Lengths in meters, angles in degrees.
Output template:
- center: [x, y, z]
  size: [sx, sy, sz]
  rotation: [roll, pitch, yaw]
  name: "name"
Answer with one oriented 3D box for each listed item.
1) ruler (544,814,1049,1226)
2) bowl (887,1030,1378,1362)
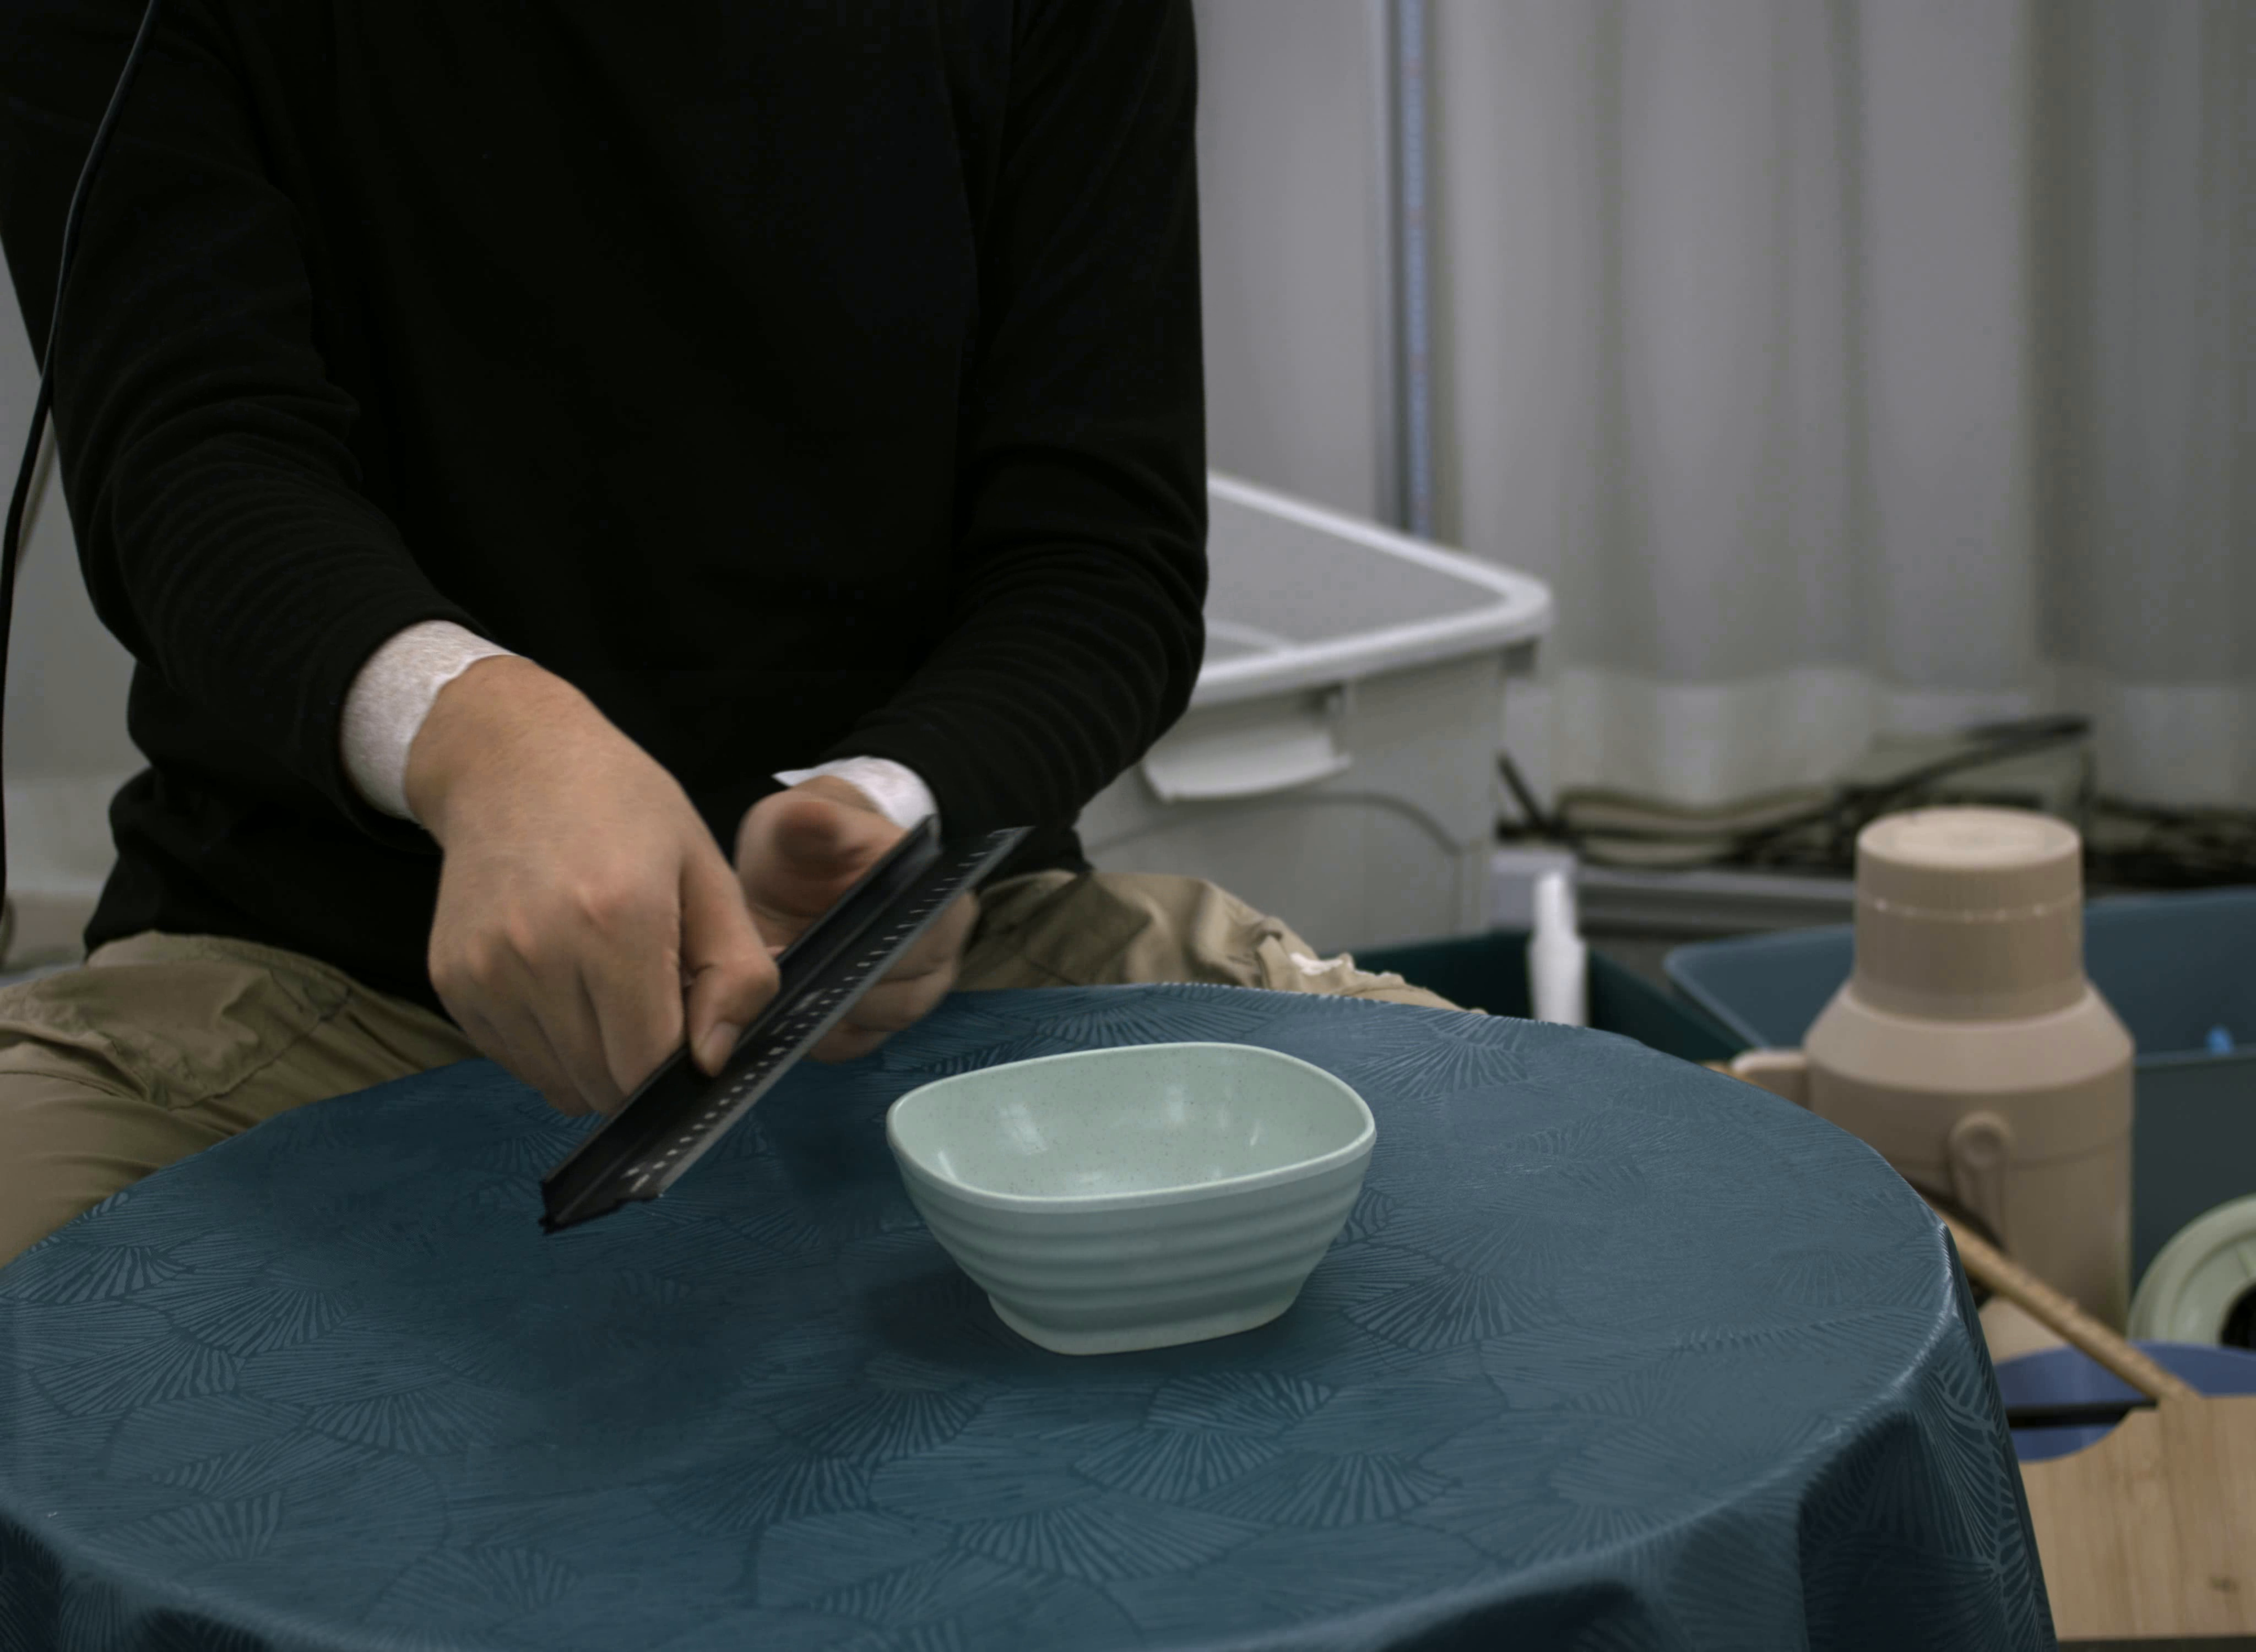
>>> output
- center: [-0.092, 0.048, 1.596]
  size: [0.039, 0.017, 0.314]
  rotation: [-15, 13, 24]
  name: "ruler"
- center: [0.002, 0.112, 1.611]
  size: [0.151, 0.058, 0.152]
  rotation: [-3, 18, 1]
  name: "bowl"
